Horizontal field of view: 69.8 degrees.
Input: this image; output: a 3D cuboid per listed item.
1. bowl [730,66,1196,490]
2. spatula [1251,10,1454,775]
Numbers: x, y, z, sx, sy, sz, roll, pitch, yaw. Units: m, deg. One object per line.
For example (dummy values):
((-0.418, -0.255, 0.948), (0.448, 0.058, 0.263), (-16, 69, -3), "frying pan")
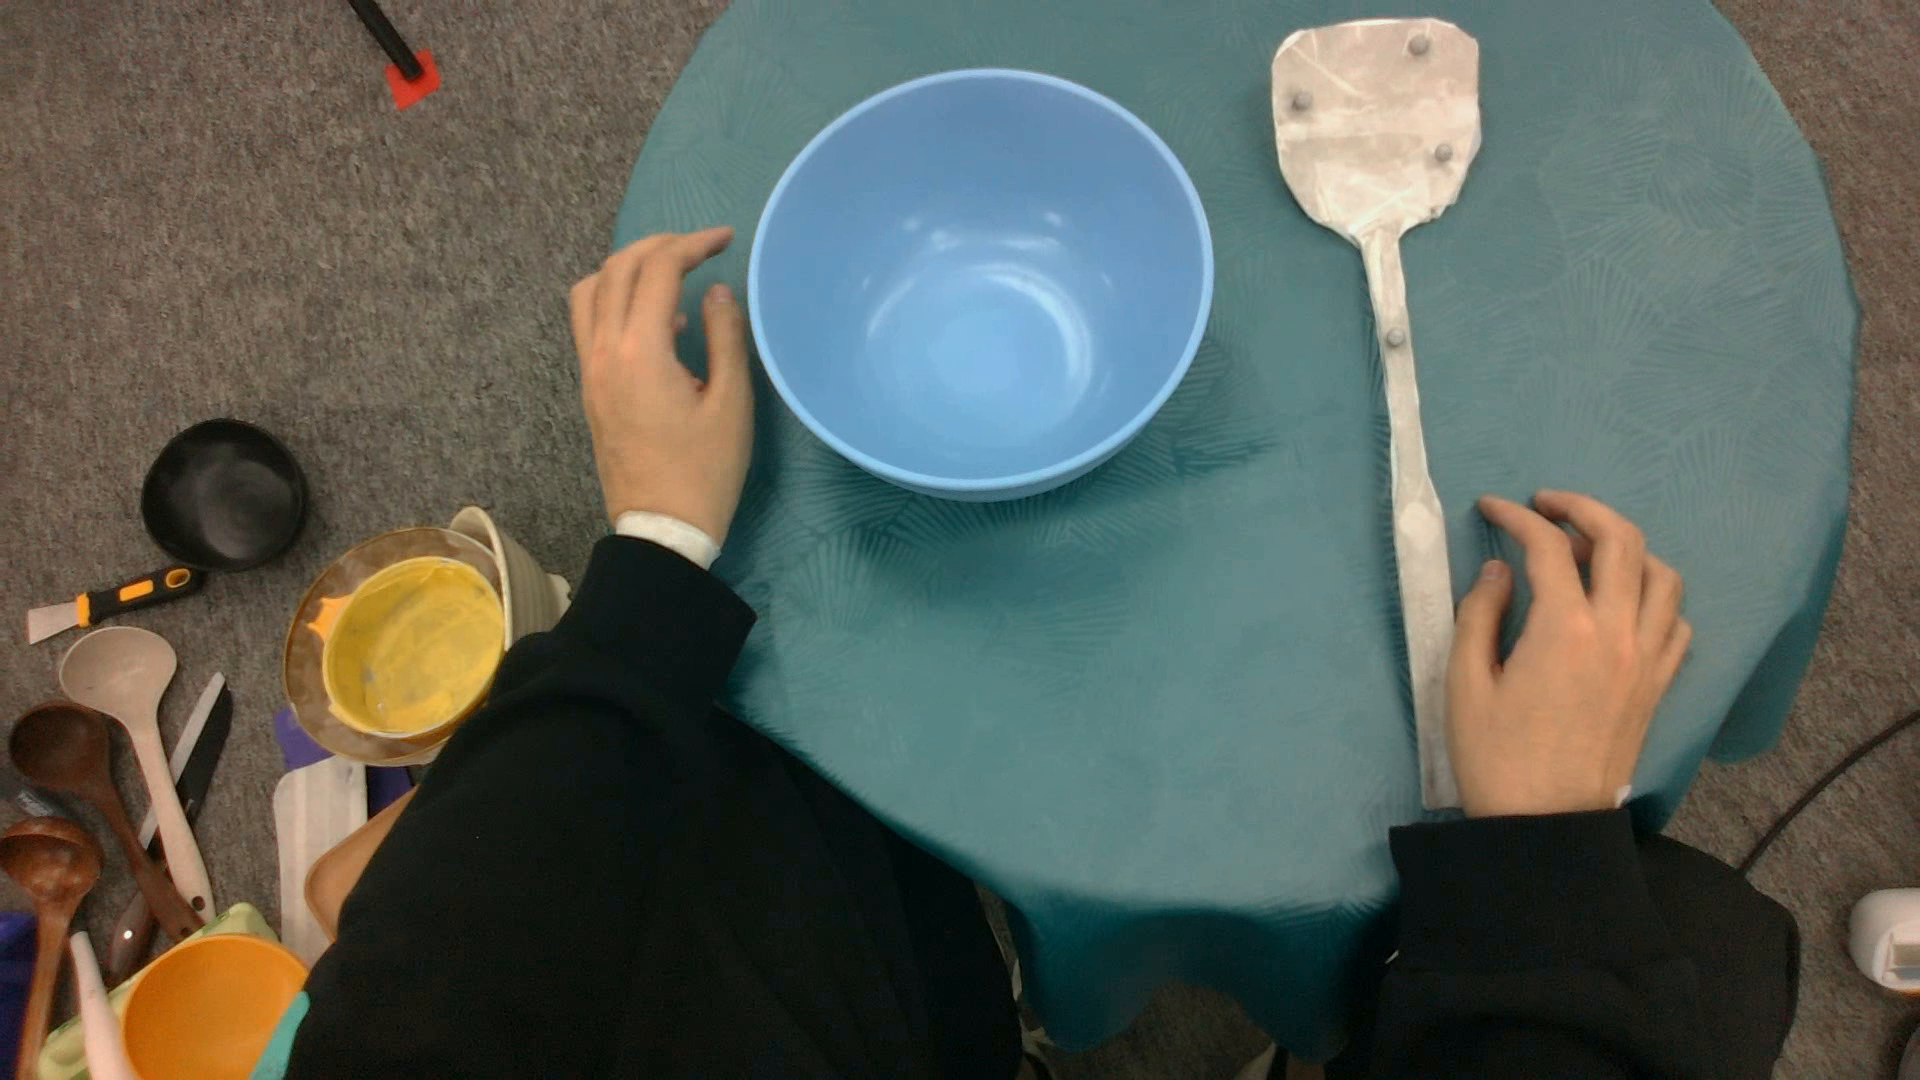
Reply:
((0.003, -0.103, 0.622), (0.196, 0.095, 0.197), (-1, 70, 3), "bowl")
((0.190, -0.078, 0.632), (0.098, 0.044, 0.366), (0, 71, 2), "spatula")
